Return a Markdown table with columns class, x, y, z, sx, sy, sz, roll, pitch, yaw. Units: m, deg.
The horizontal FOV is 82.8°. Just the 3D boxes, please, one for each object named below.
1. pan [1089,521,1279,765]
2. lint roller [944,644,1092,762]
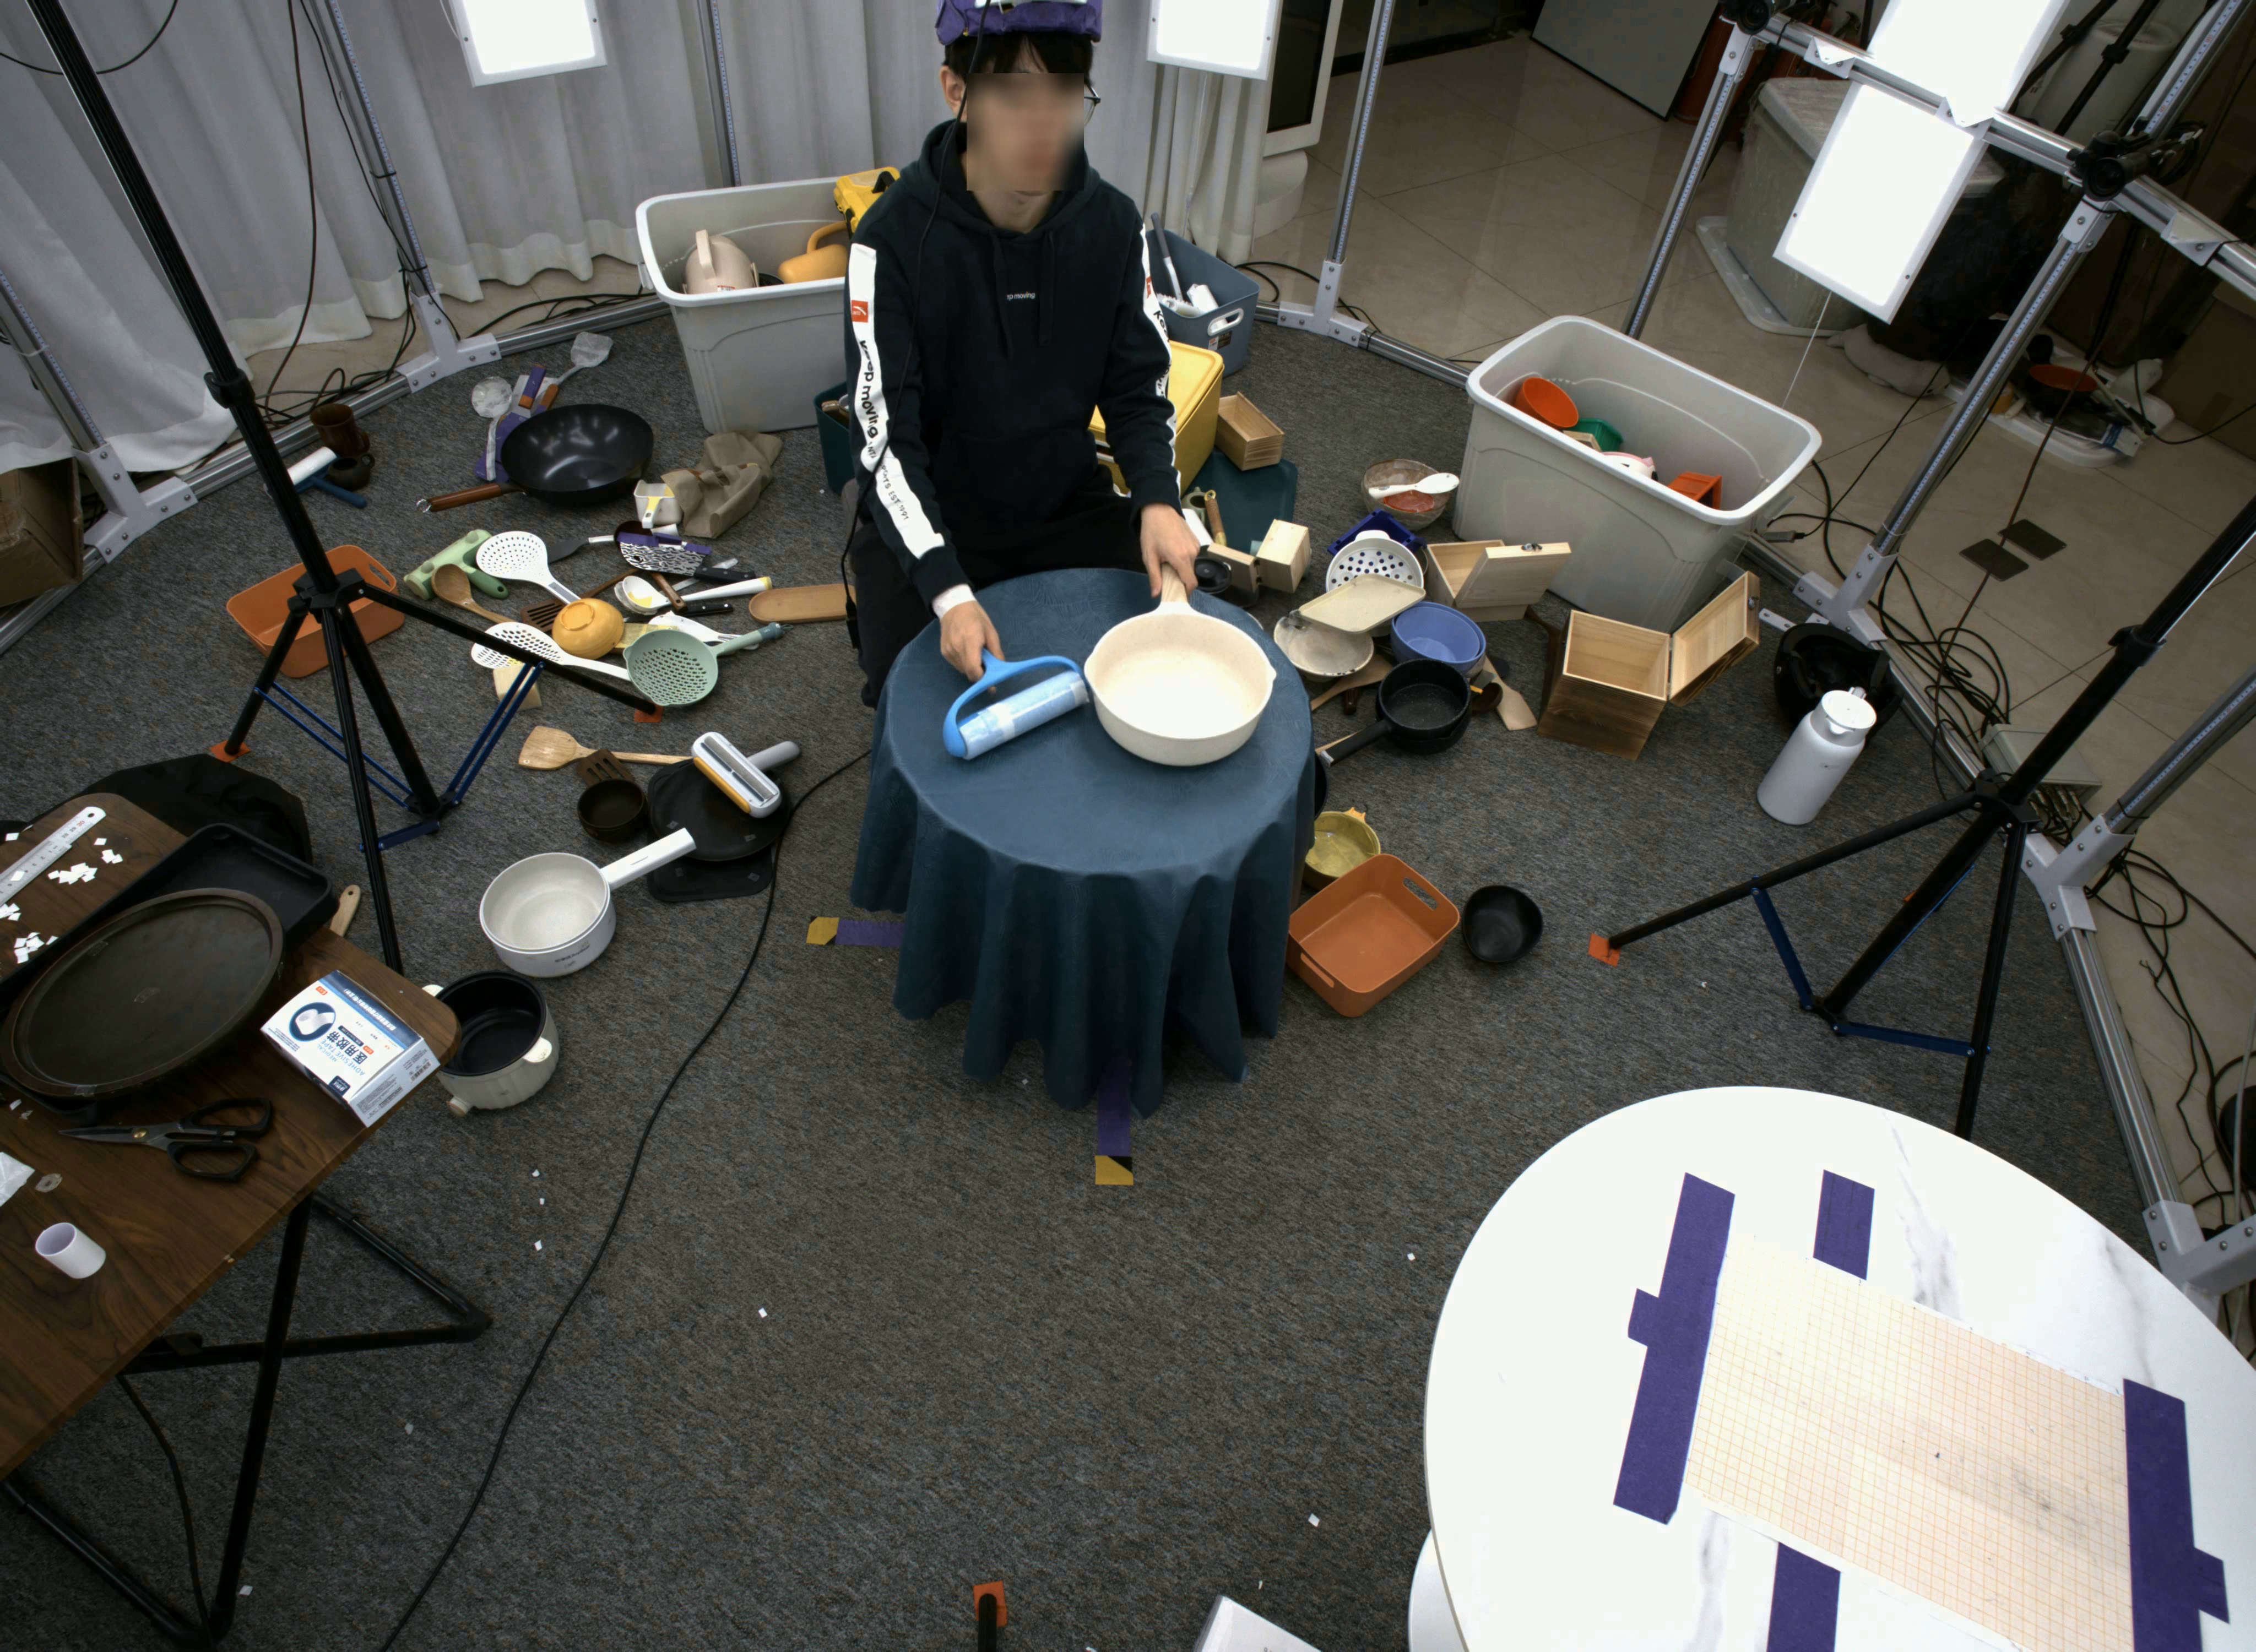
| class | x | y | z | sx | sy | sz | roll | pitch | yaw |
| --- | --- | --- | --- | --- | --- | --- | --- | --- | --- |
| pan | 0.070 | -0.261 | 1.835 | 0.263 | 0.099 | 0.446 | -2 | 49 | -4 |
| lint roller | -0.183 | -0.197 | 1.775 | 0.230 | 0.066 | 0.183 | -31 | 70 | -24 |
